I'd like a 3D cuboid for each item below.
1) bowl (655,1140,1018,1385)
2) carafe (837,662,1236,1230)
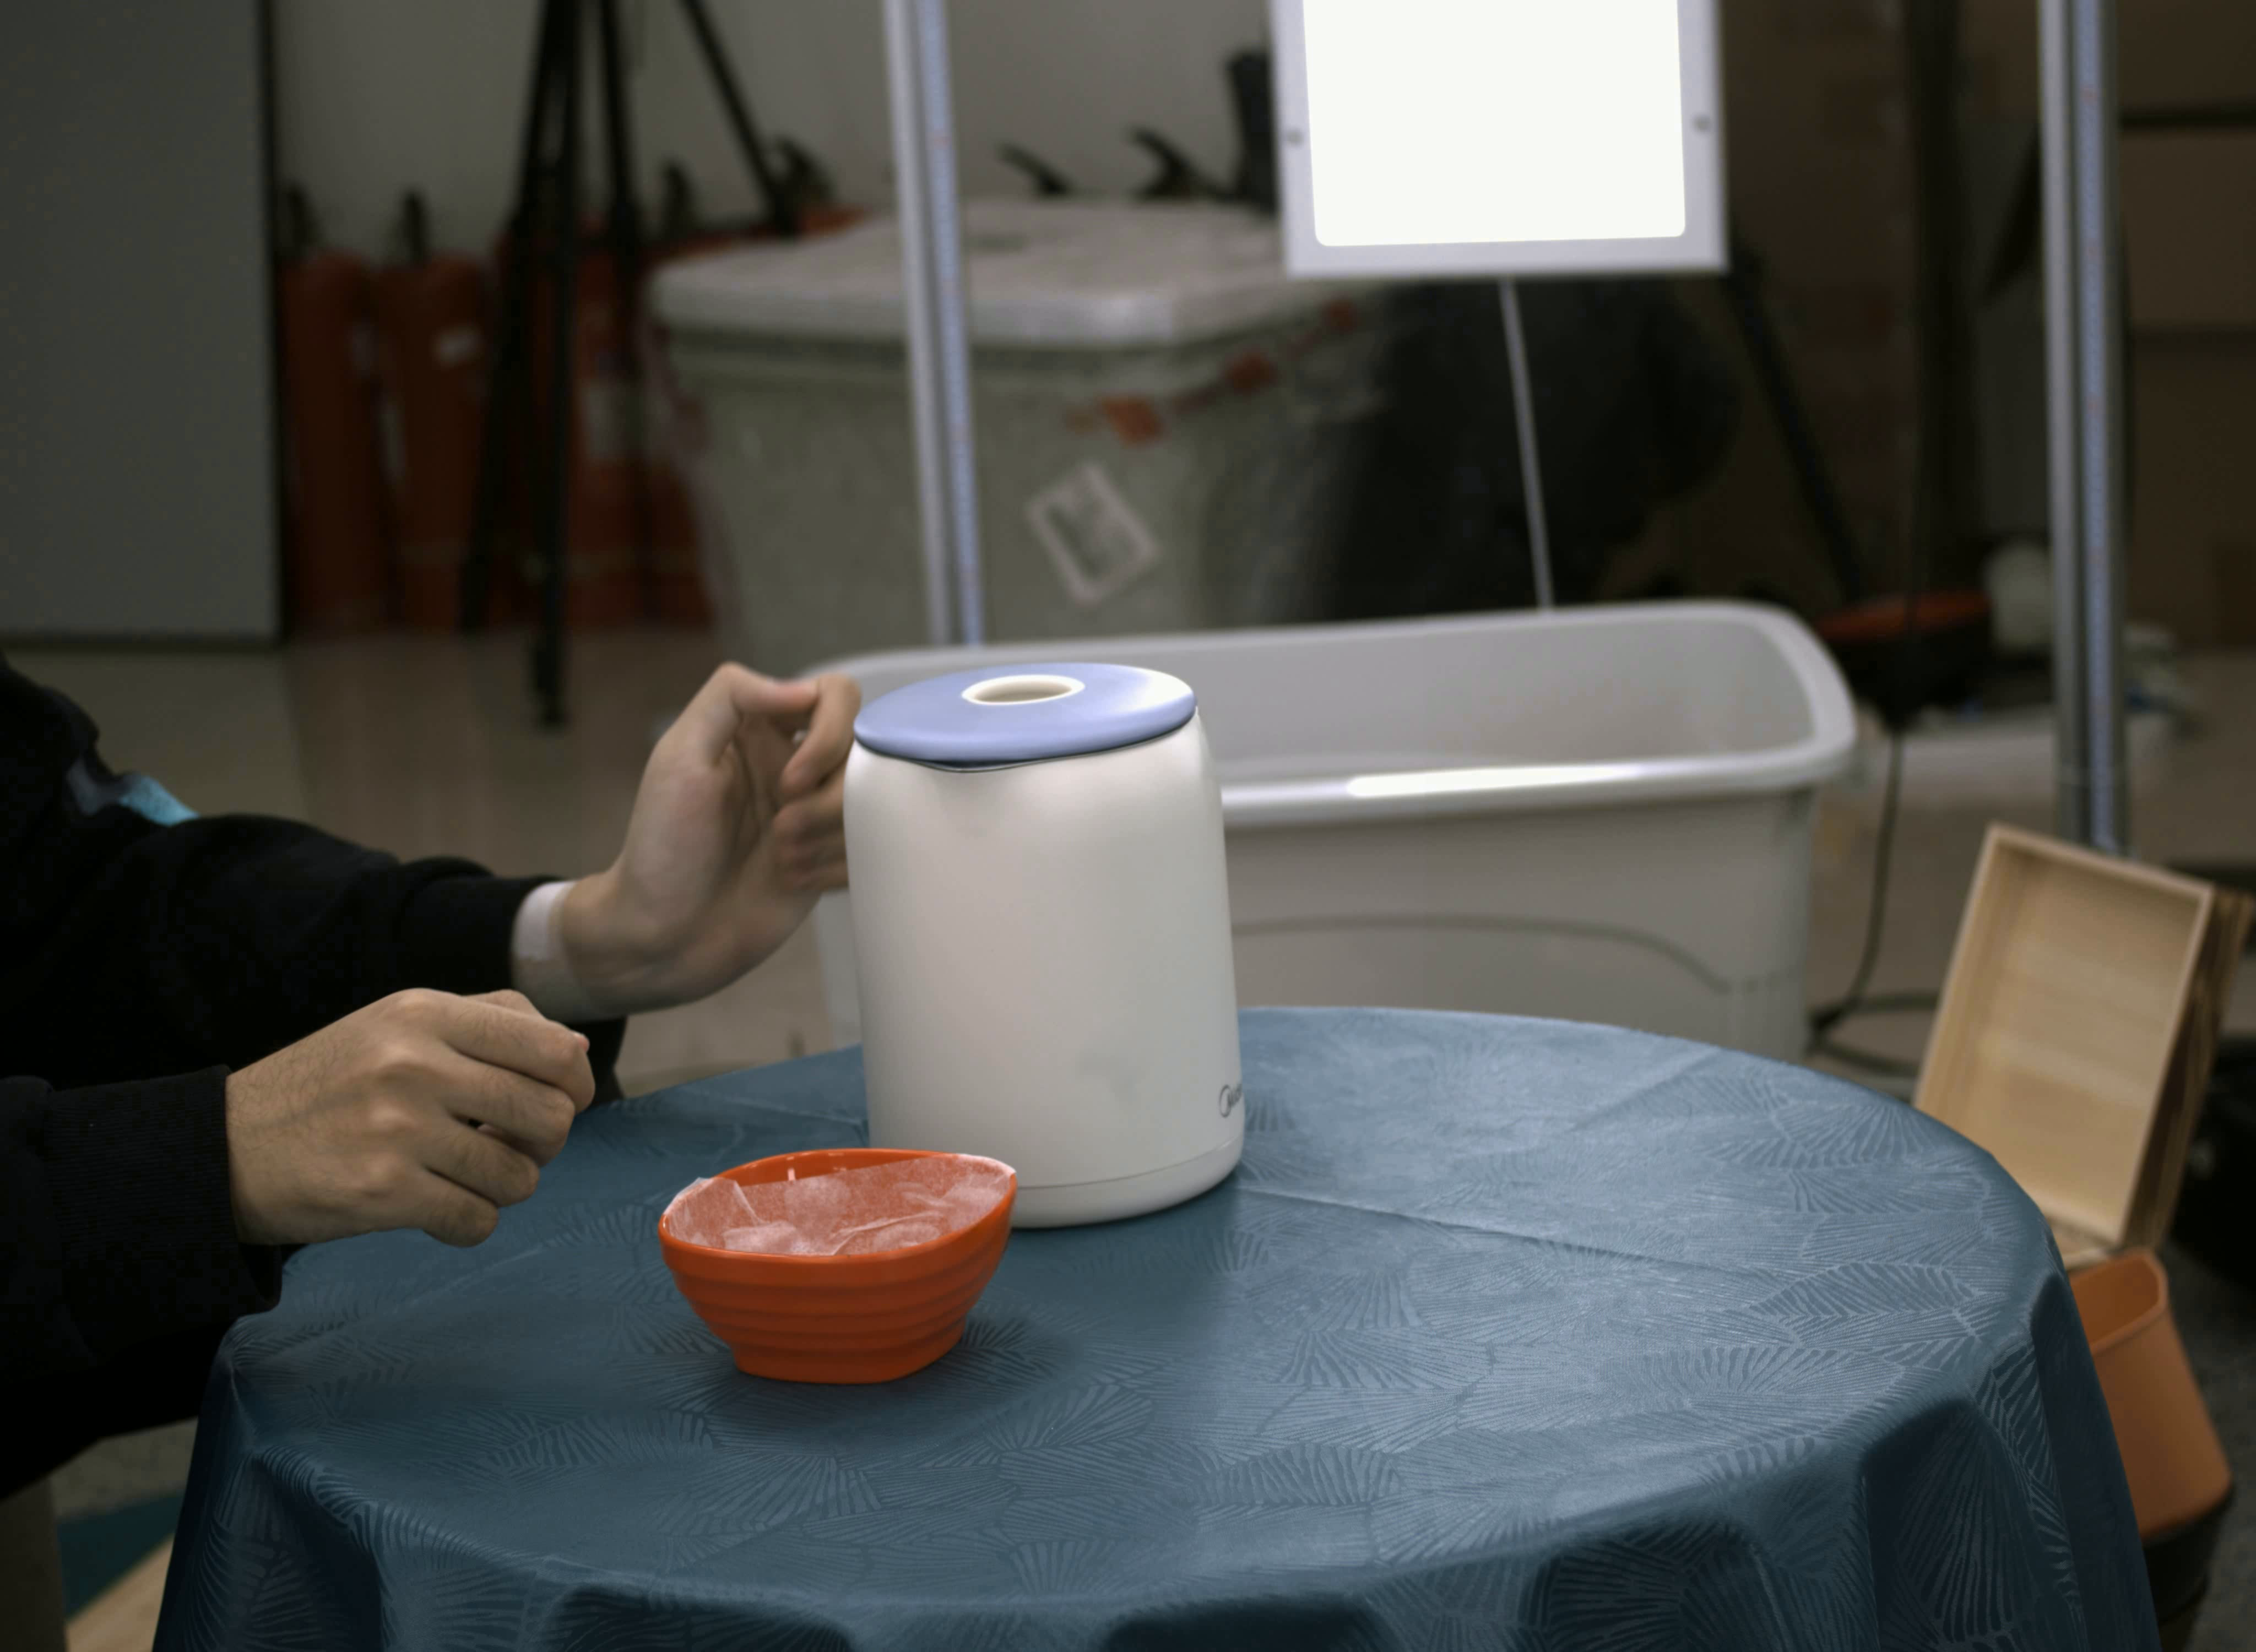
[{"bbox_3d":[-0.091,0.141,1.756,0.118,0.051,0.119,-4,16,0],"label":"bowl"},{"bbox_3d":[-0.025,0.035,1.920,0.133,0.183,0.188,1,12,16],"label":"carafe"}]
